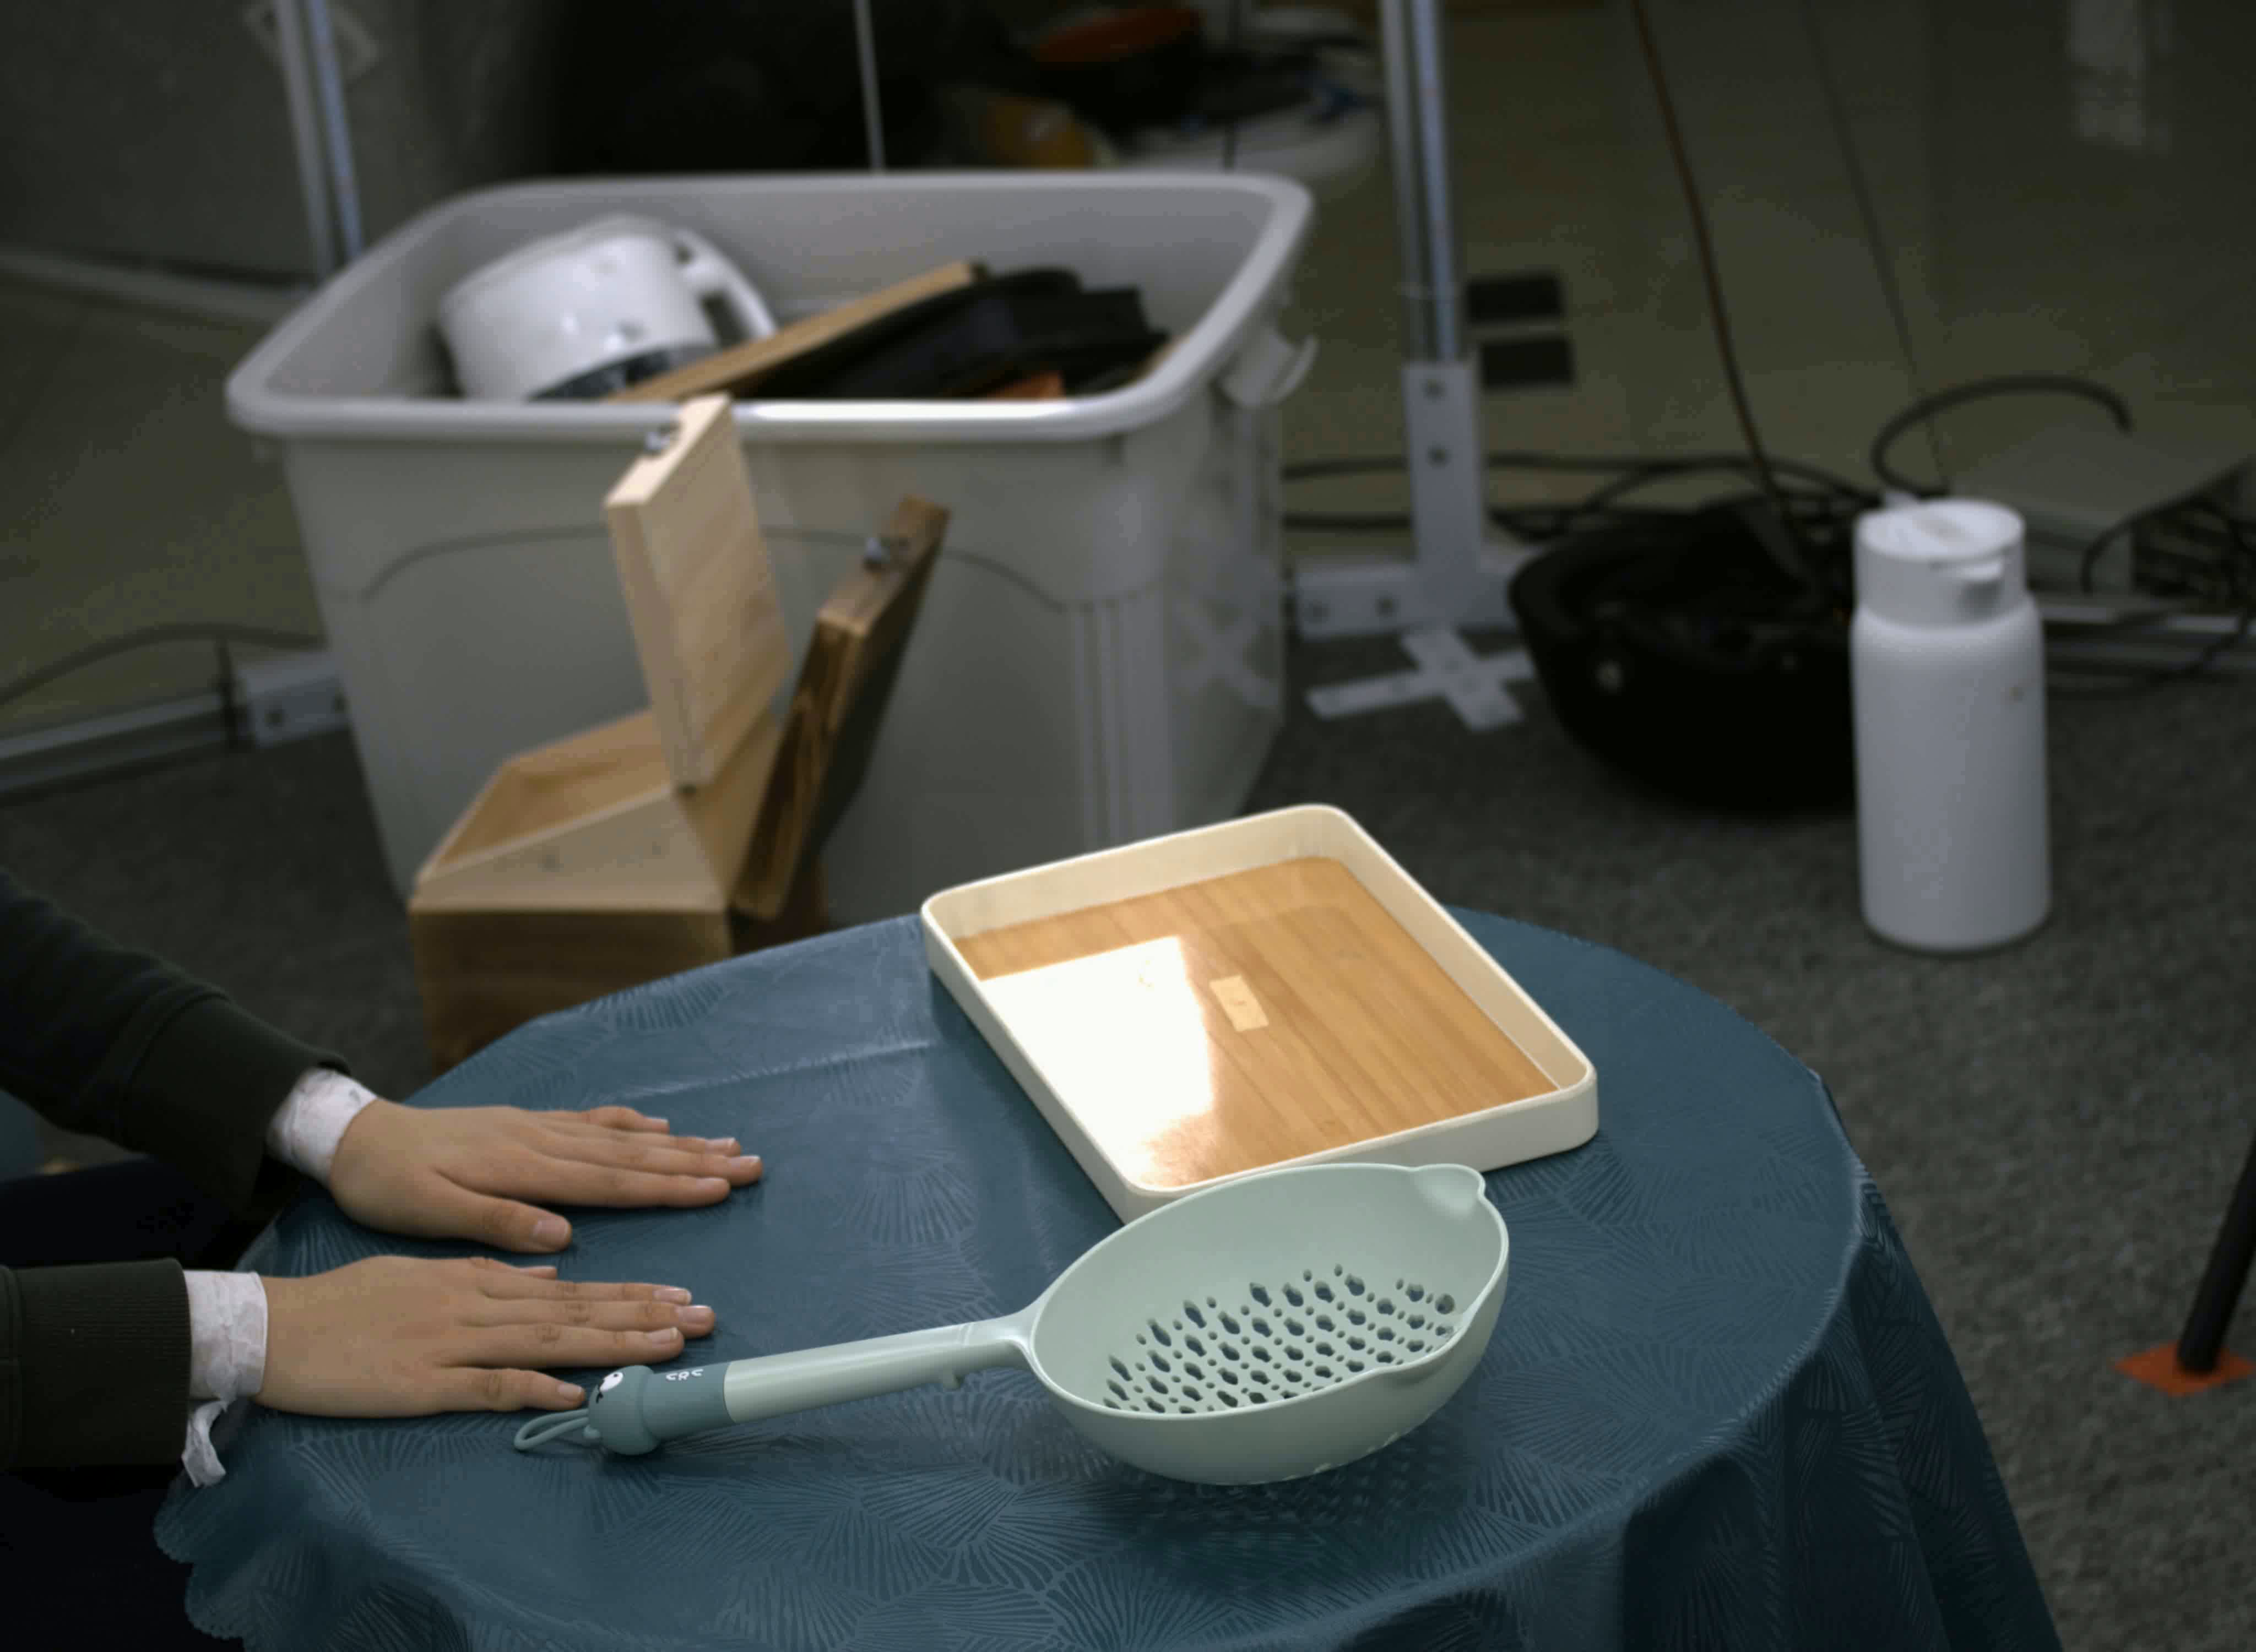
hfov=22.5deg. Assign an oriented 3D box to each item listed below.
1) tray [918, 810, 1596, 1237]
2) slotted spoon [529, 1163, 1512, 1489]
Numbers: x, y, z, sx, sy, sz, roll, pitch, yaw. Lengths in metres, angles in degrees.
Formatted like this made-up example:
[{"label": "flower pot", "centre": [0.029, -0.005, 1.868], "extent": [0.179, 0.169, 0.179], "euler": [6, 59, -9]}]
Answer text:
[{"label": "tray", "centre": [0.046, 0.076, 2.246], "extent": [0.191, 0.028, 0.296], "euler": [-13, 25, -14]}, {"label": "slotted spoon", "centre": [-0.042, 0.186, 1.985], "extent": [0.358, 0.076, 0.167], "euler": [-2, 25, 10]}]
